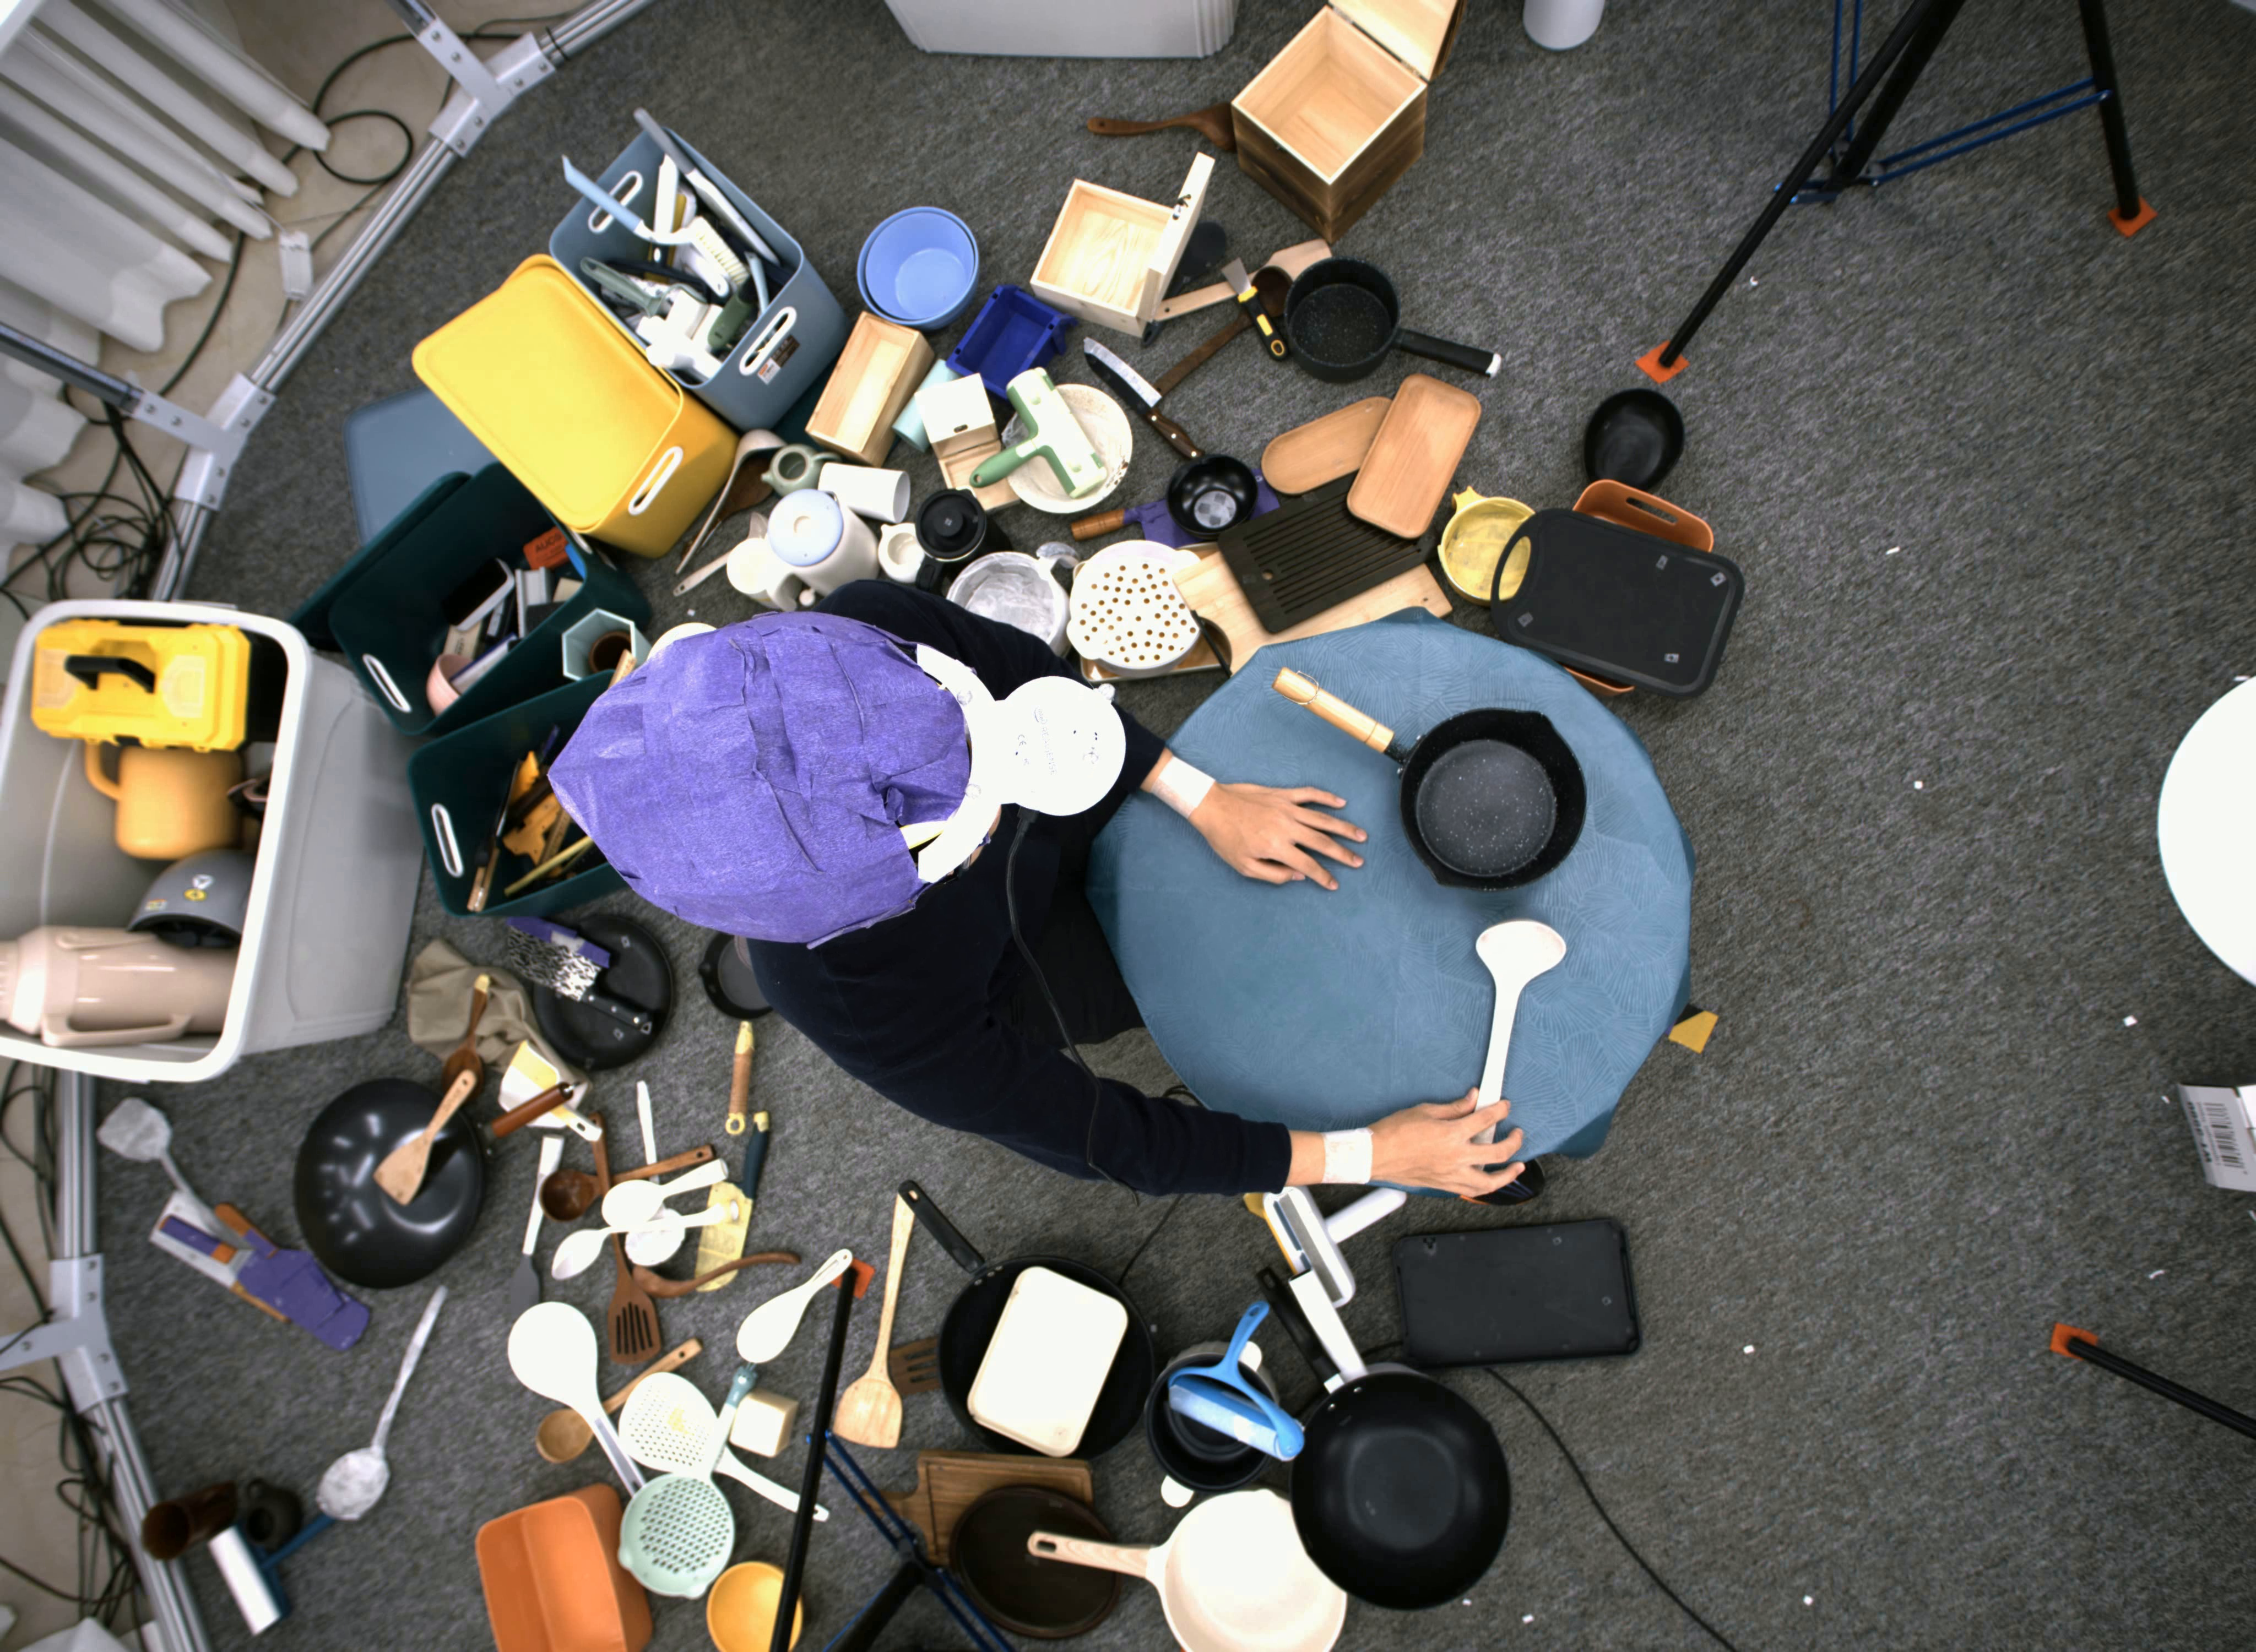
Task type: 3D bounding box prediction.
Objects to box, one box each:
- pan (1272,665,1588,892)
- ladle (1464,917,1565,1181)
[{"bbox_3d":[0.299,-0.064,1.407,0.342,0.108,0.208,29,93,9],"label":"pan"},{"bbox_3d":[0.380,0.226,1.395,0.089,0.069,0.274,10,88,-4],"label":"ladle"}]
